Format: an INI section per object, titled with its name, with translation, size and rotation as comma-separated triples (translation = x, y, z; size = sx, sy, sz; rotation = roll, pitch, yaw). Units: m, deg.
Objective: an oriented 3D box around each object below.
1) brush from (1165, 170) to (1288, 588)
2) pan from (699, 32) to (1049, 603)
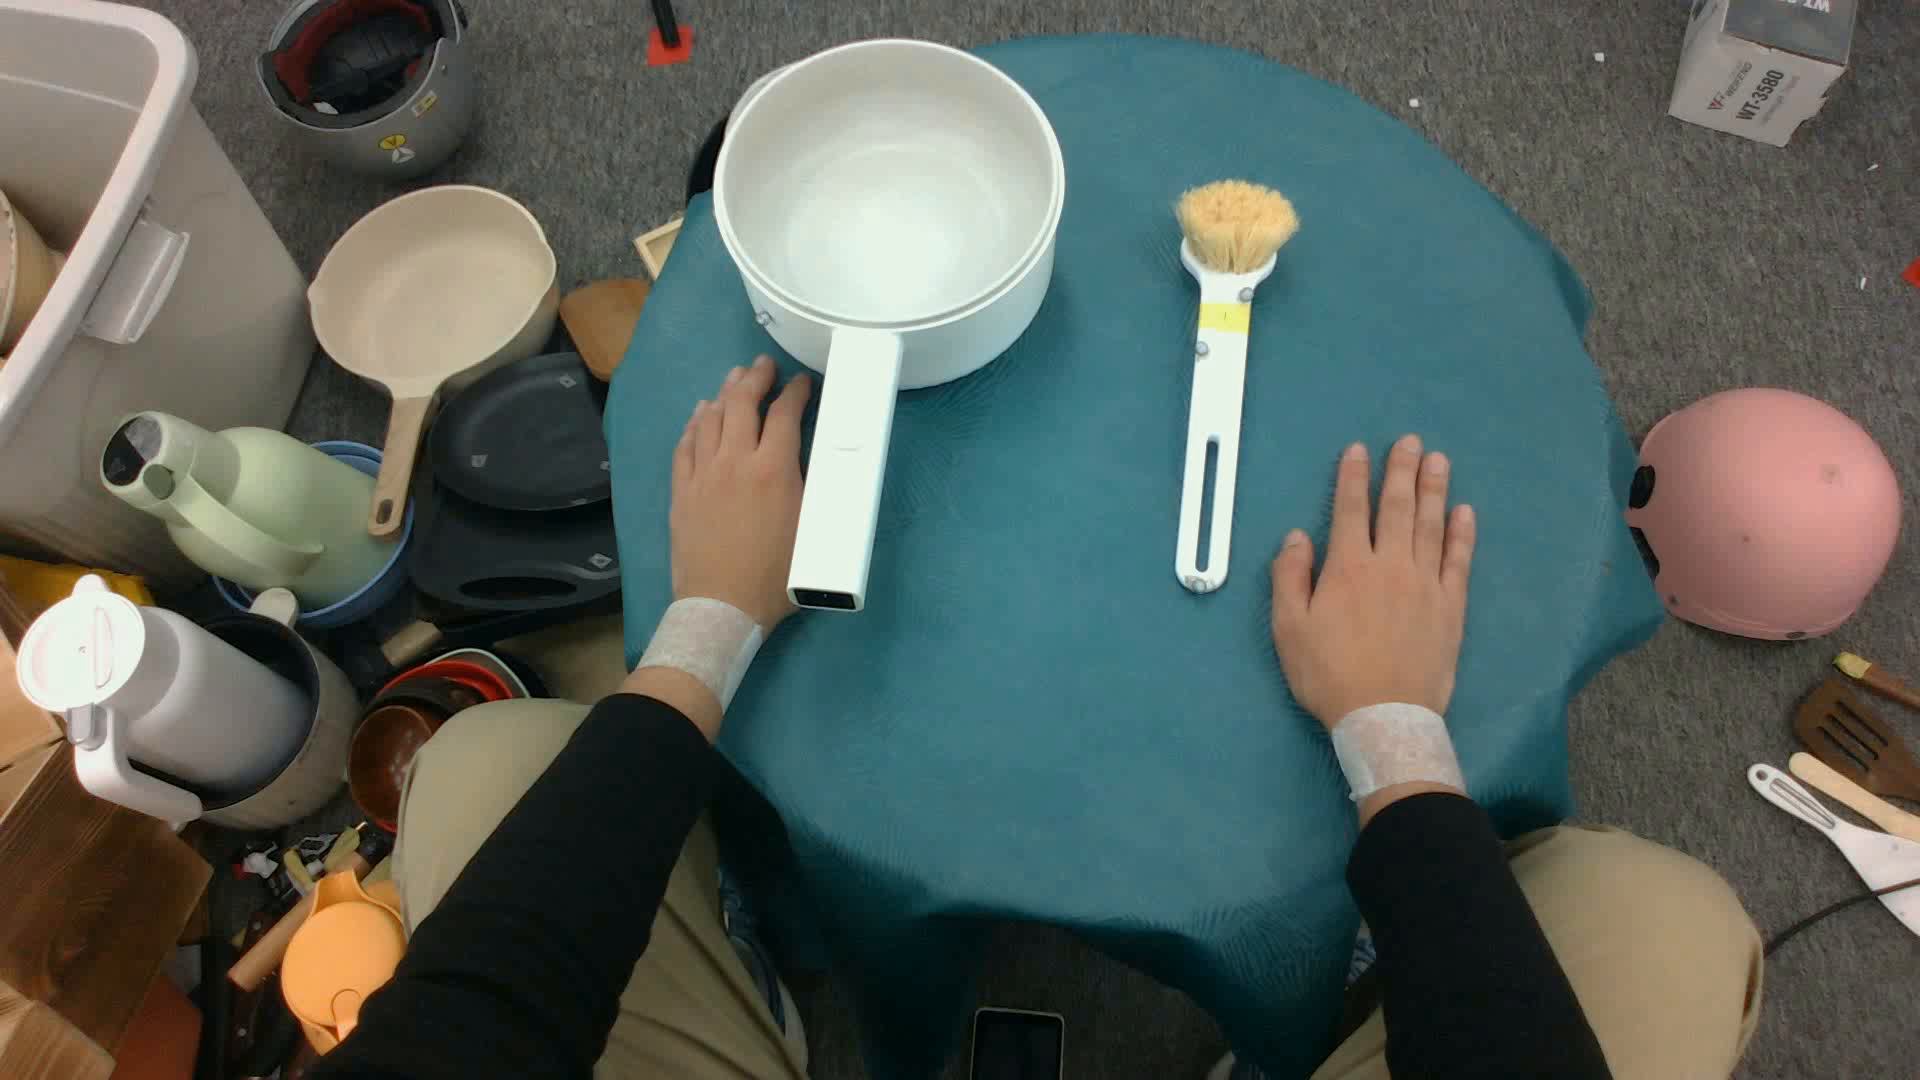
[brush]
translation = 0.150, -0.104, 0.814
size = 0.068, 0.056, 0.267
rotation = 6, 68, 8
[pan]
translation = -0.057, -0.124, 0.803
size = 0.201, 0.102, 0.356
rotation = 6, 68, 2
